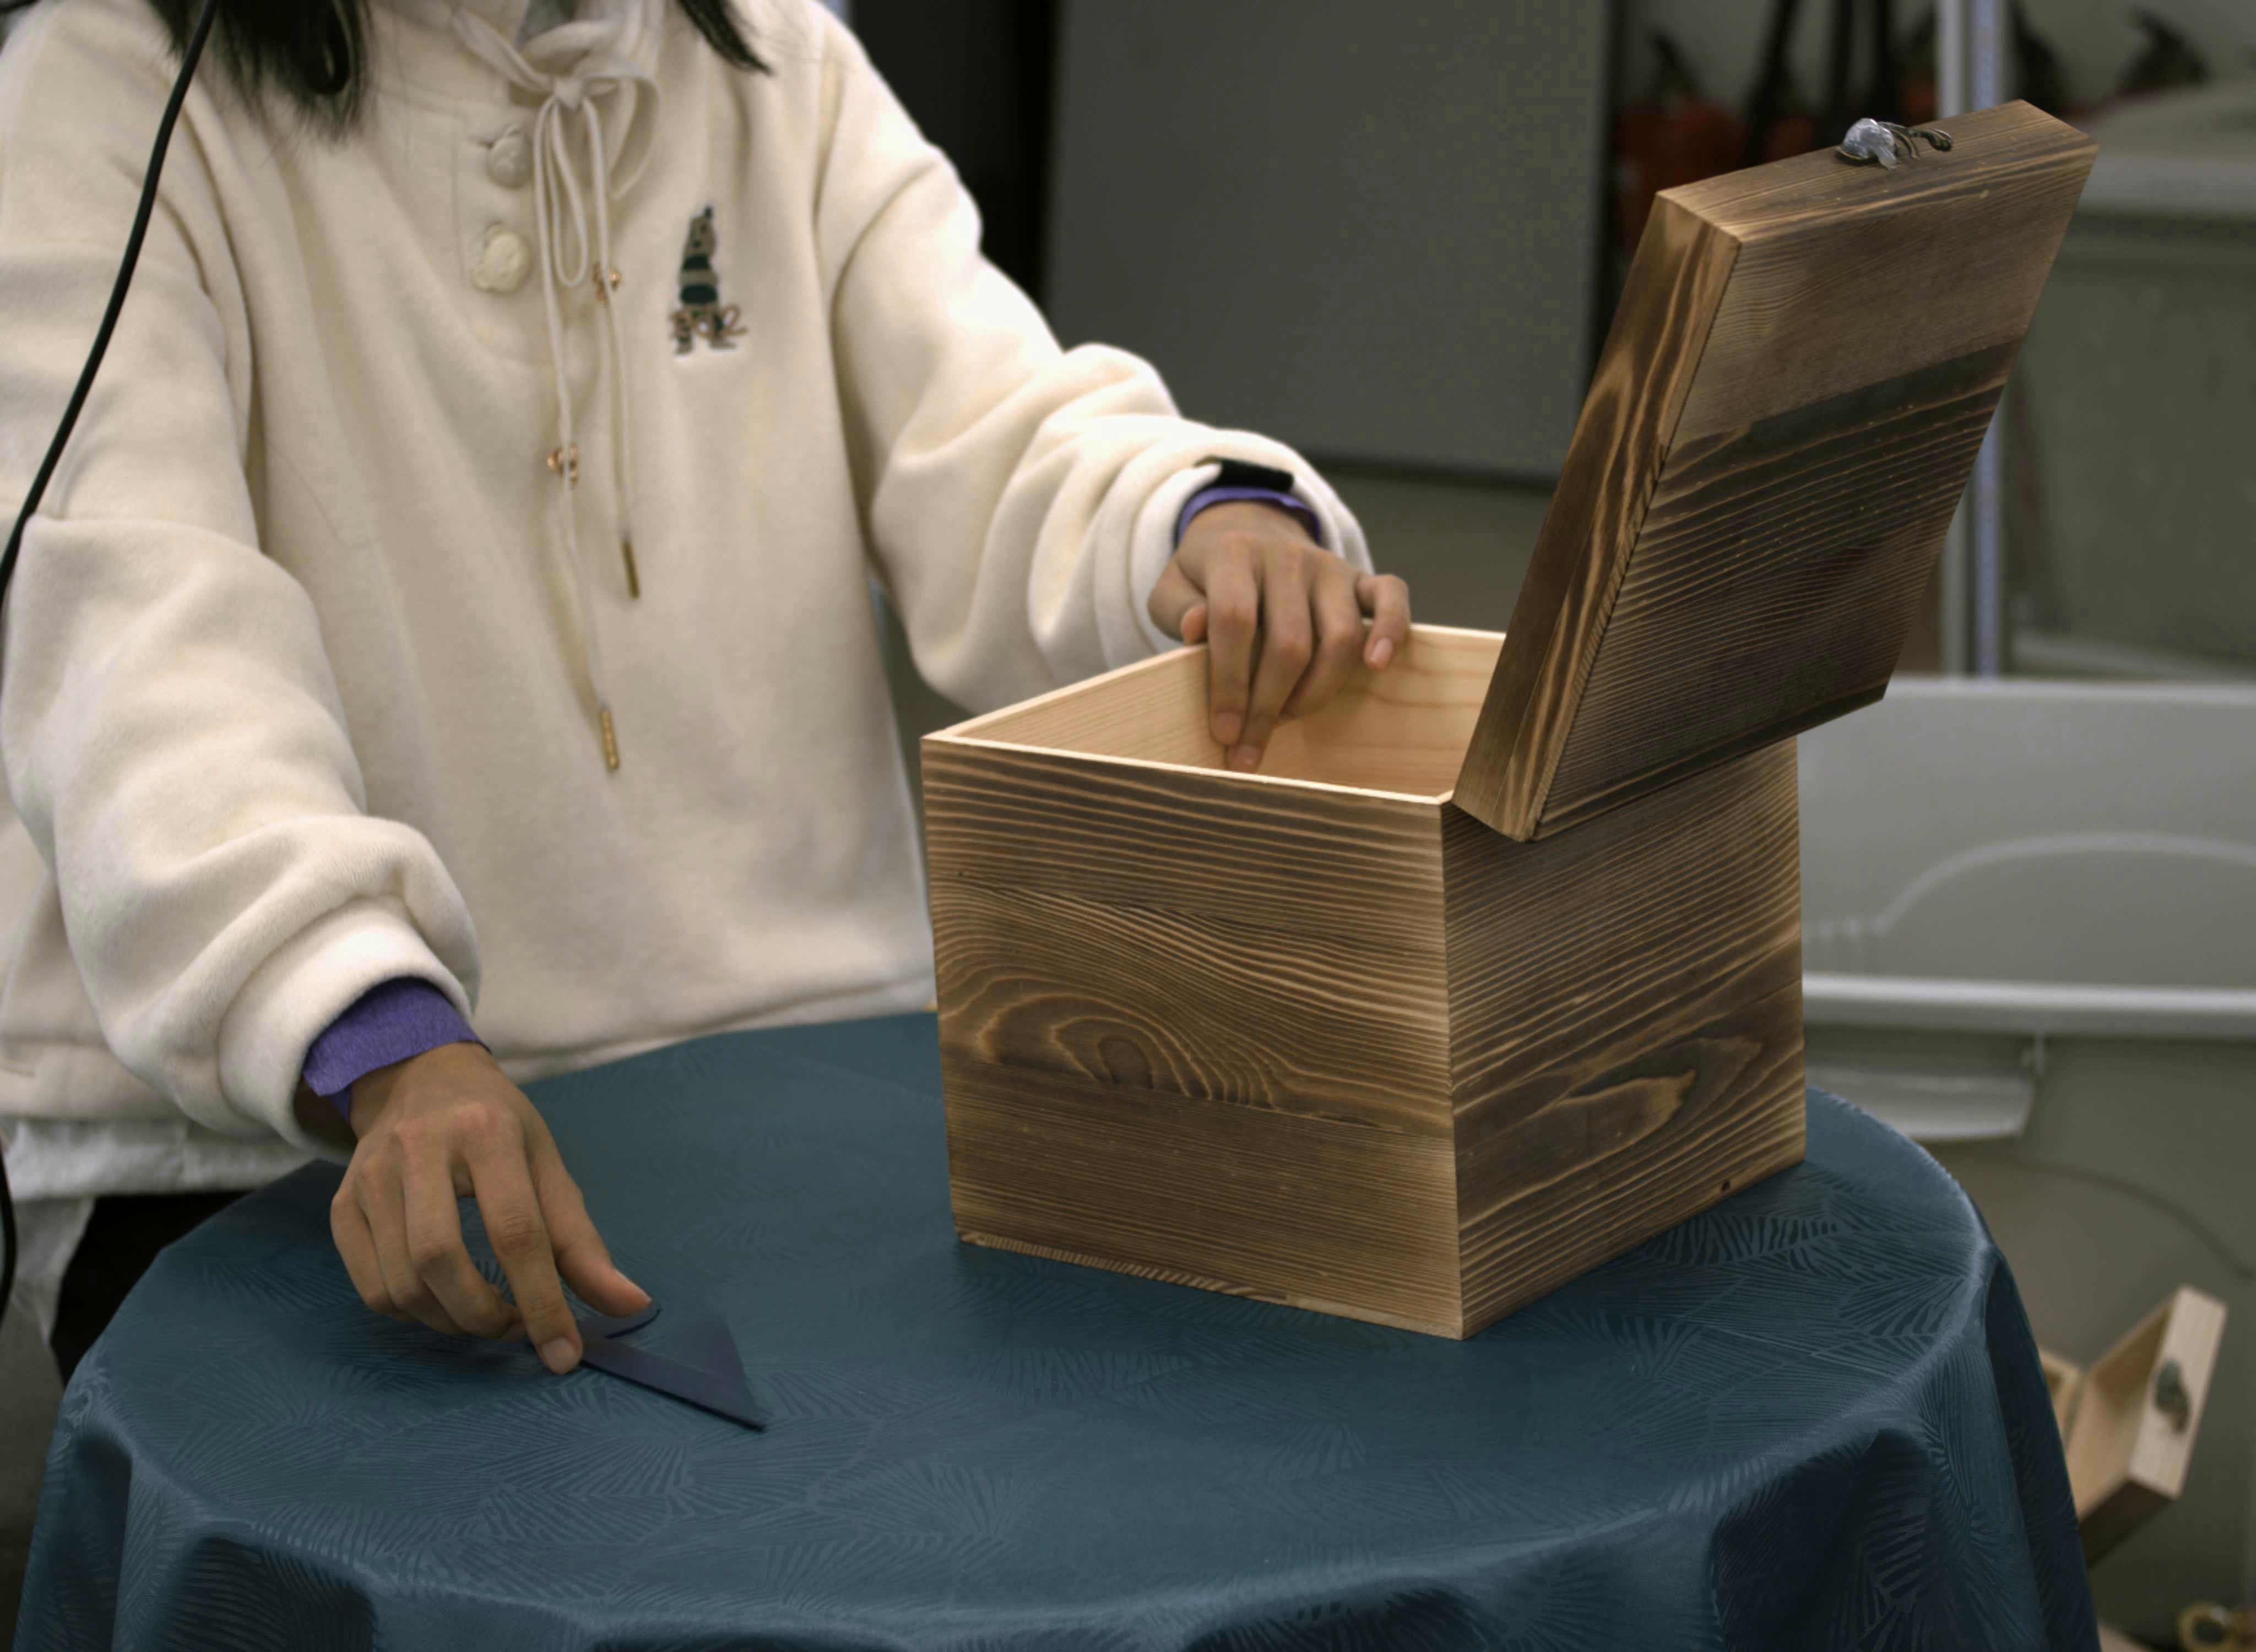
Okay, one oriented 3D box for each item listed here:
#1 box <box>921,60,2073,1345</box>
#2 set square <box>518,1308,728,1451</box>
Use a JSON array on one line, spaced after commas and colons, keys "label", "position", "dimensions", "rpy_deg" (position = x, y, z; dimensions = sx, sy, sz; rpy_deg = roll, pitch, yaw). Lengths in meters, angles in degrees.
[{"label": "box", "position": [0.114, -0.047, 1.671], "dimensions": [0.324, 0.379, 0.205], "rpy_deg": [9, 17, 38]}, {"label": "set square", "position": [-0.152, 0.165, 1.624], "dimensions": [0.060, 0.006, 0.132], "rpy_deg": [-1, 13, -7]}]
